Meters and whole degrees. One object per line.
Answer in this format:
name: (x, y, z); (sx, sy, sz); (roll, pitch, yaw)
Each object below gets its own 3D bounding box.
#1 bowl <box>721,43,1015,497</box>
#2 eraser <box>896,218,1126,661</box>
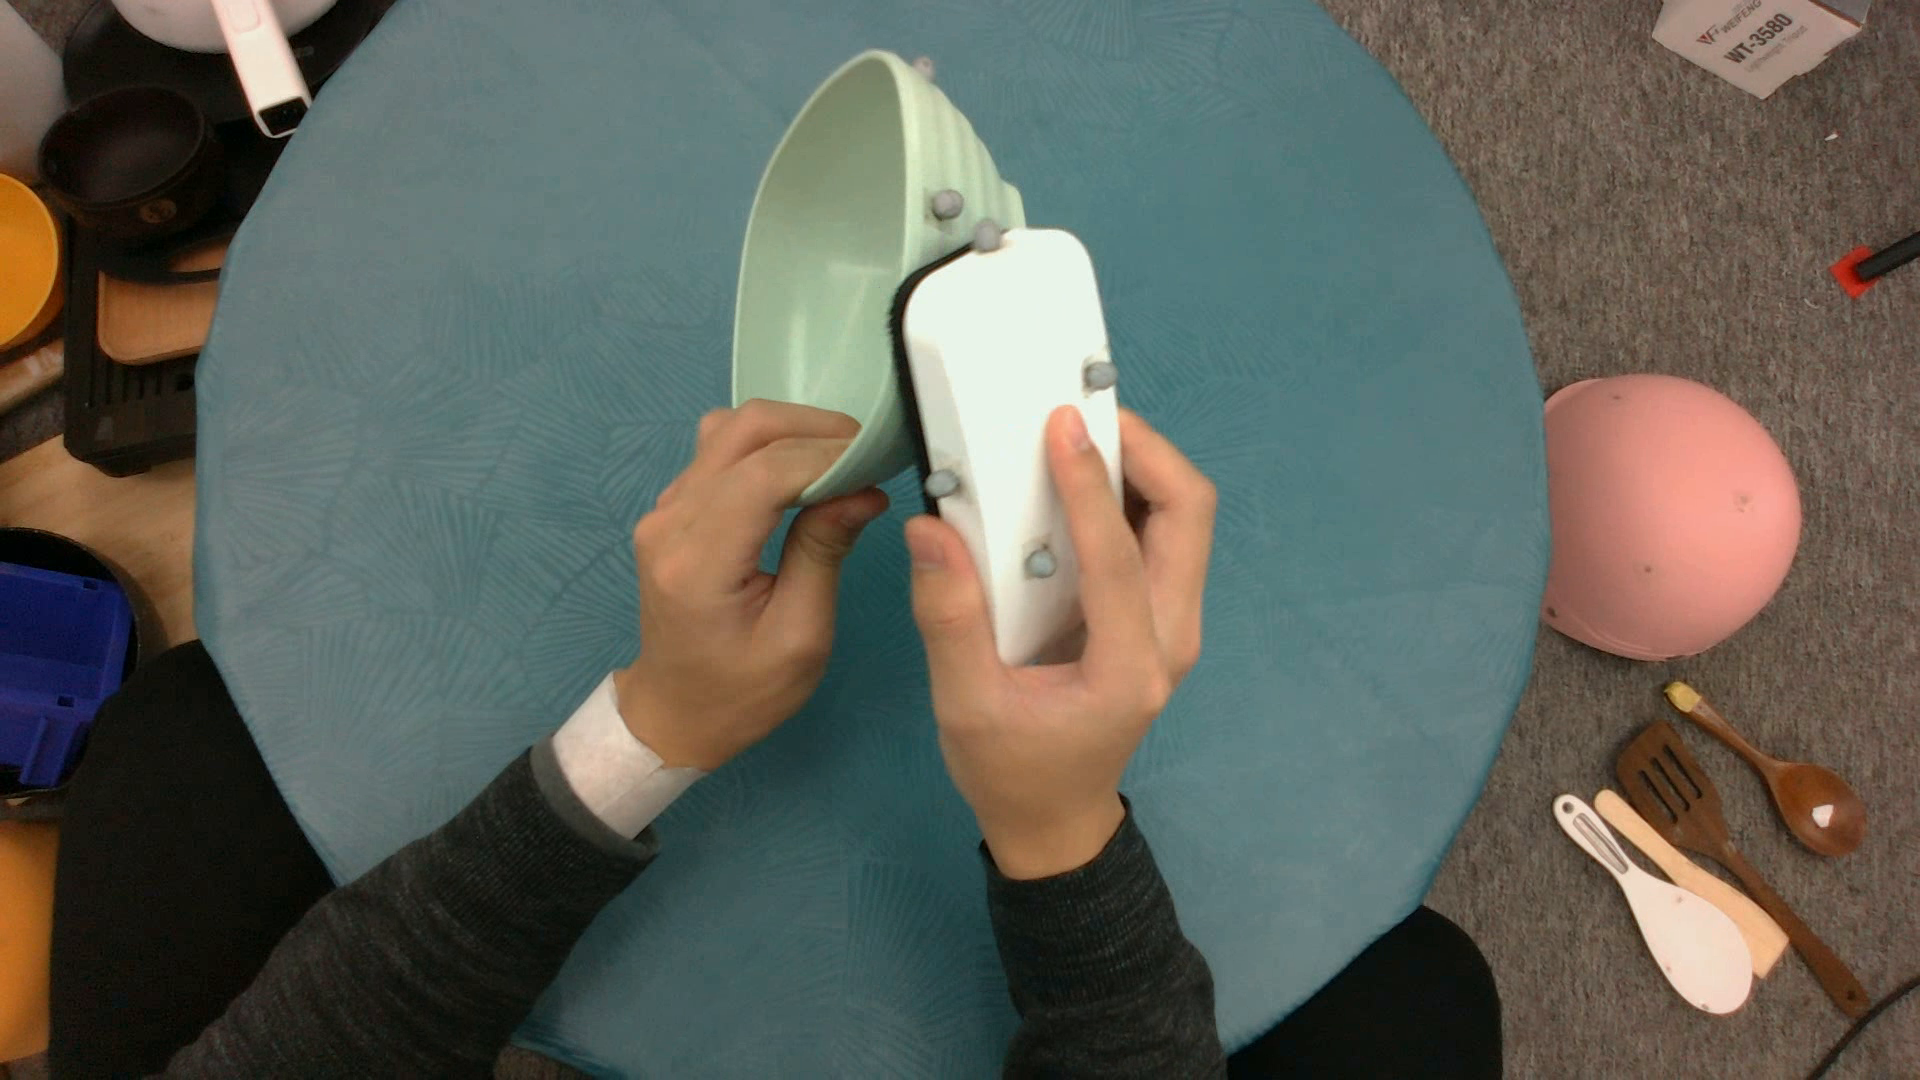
bowl: (-0.027, -0.080, 0.453); (0.059, 0.151, 0.152); (9, 76, -28)
eraser: (0.018, -0.027, 0.410); (0.063, 0.034, 0.131); (-33, 128, -34)
